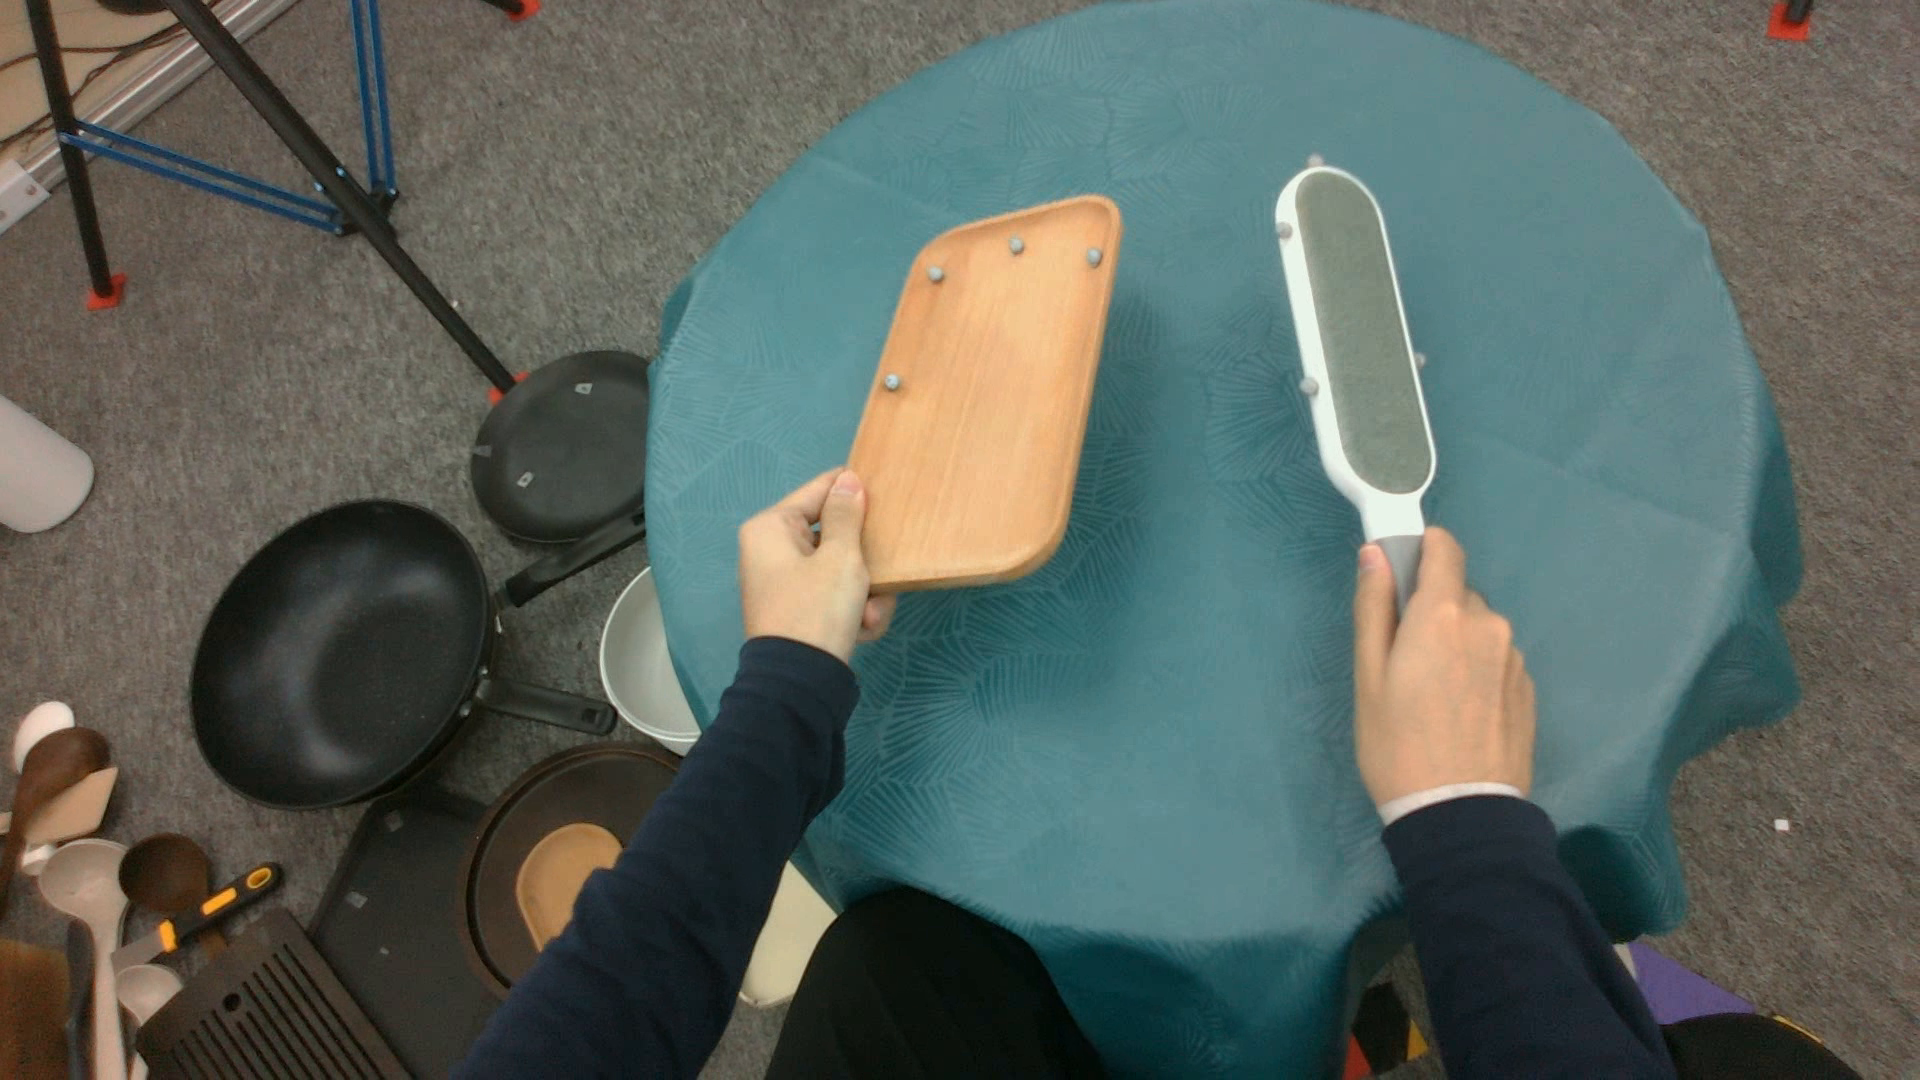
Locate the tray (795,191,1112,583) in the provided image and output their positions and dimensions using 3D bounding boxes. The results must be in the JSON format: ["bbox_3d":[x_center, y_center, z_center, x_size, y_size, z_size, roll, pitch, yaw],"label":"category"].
[{"bbox_3d":[0.002,-0.083,0.697,0.130,0.023,0.252,-6,51,29],"label":"tray"}]

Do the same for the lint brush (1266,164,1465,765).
[{"bbox_3d":[0.194,-0.047,0.656,0.060,0.021,0.309,3,68,-24],"label":"lint brush"}]
